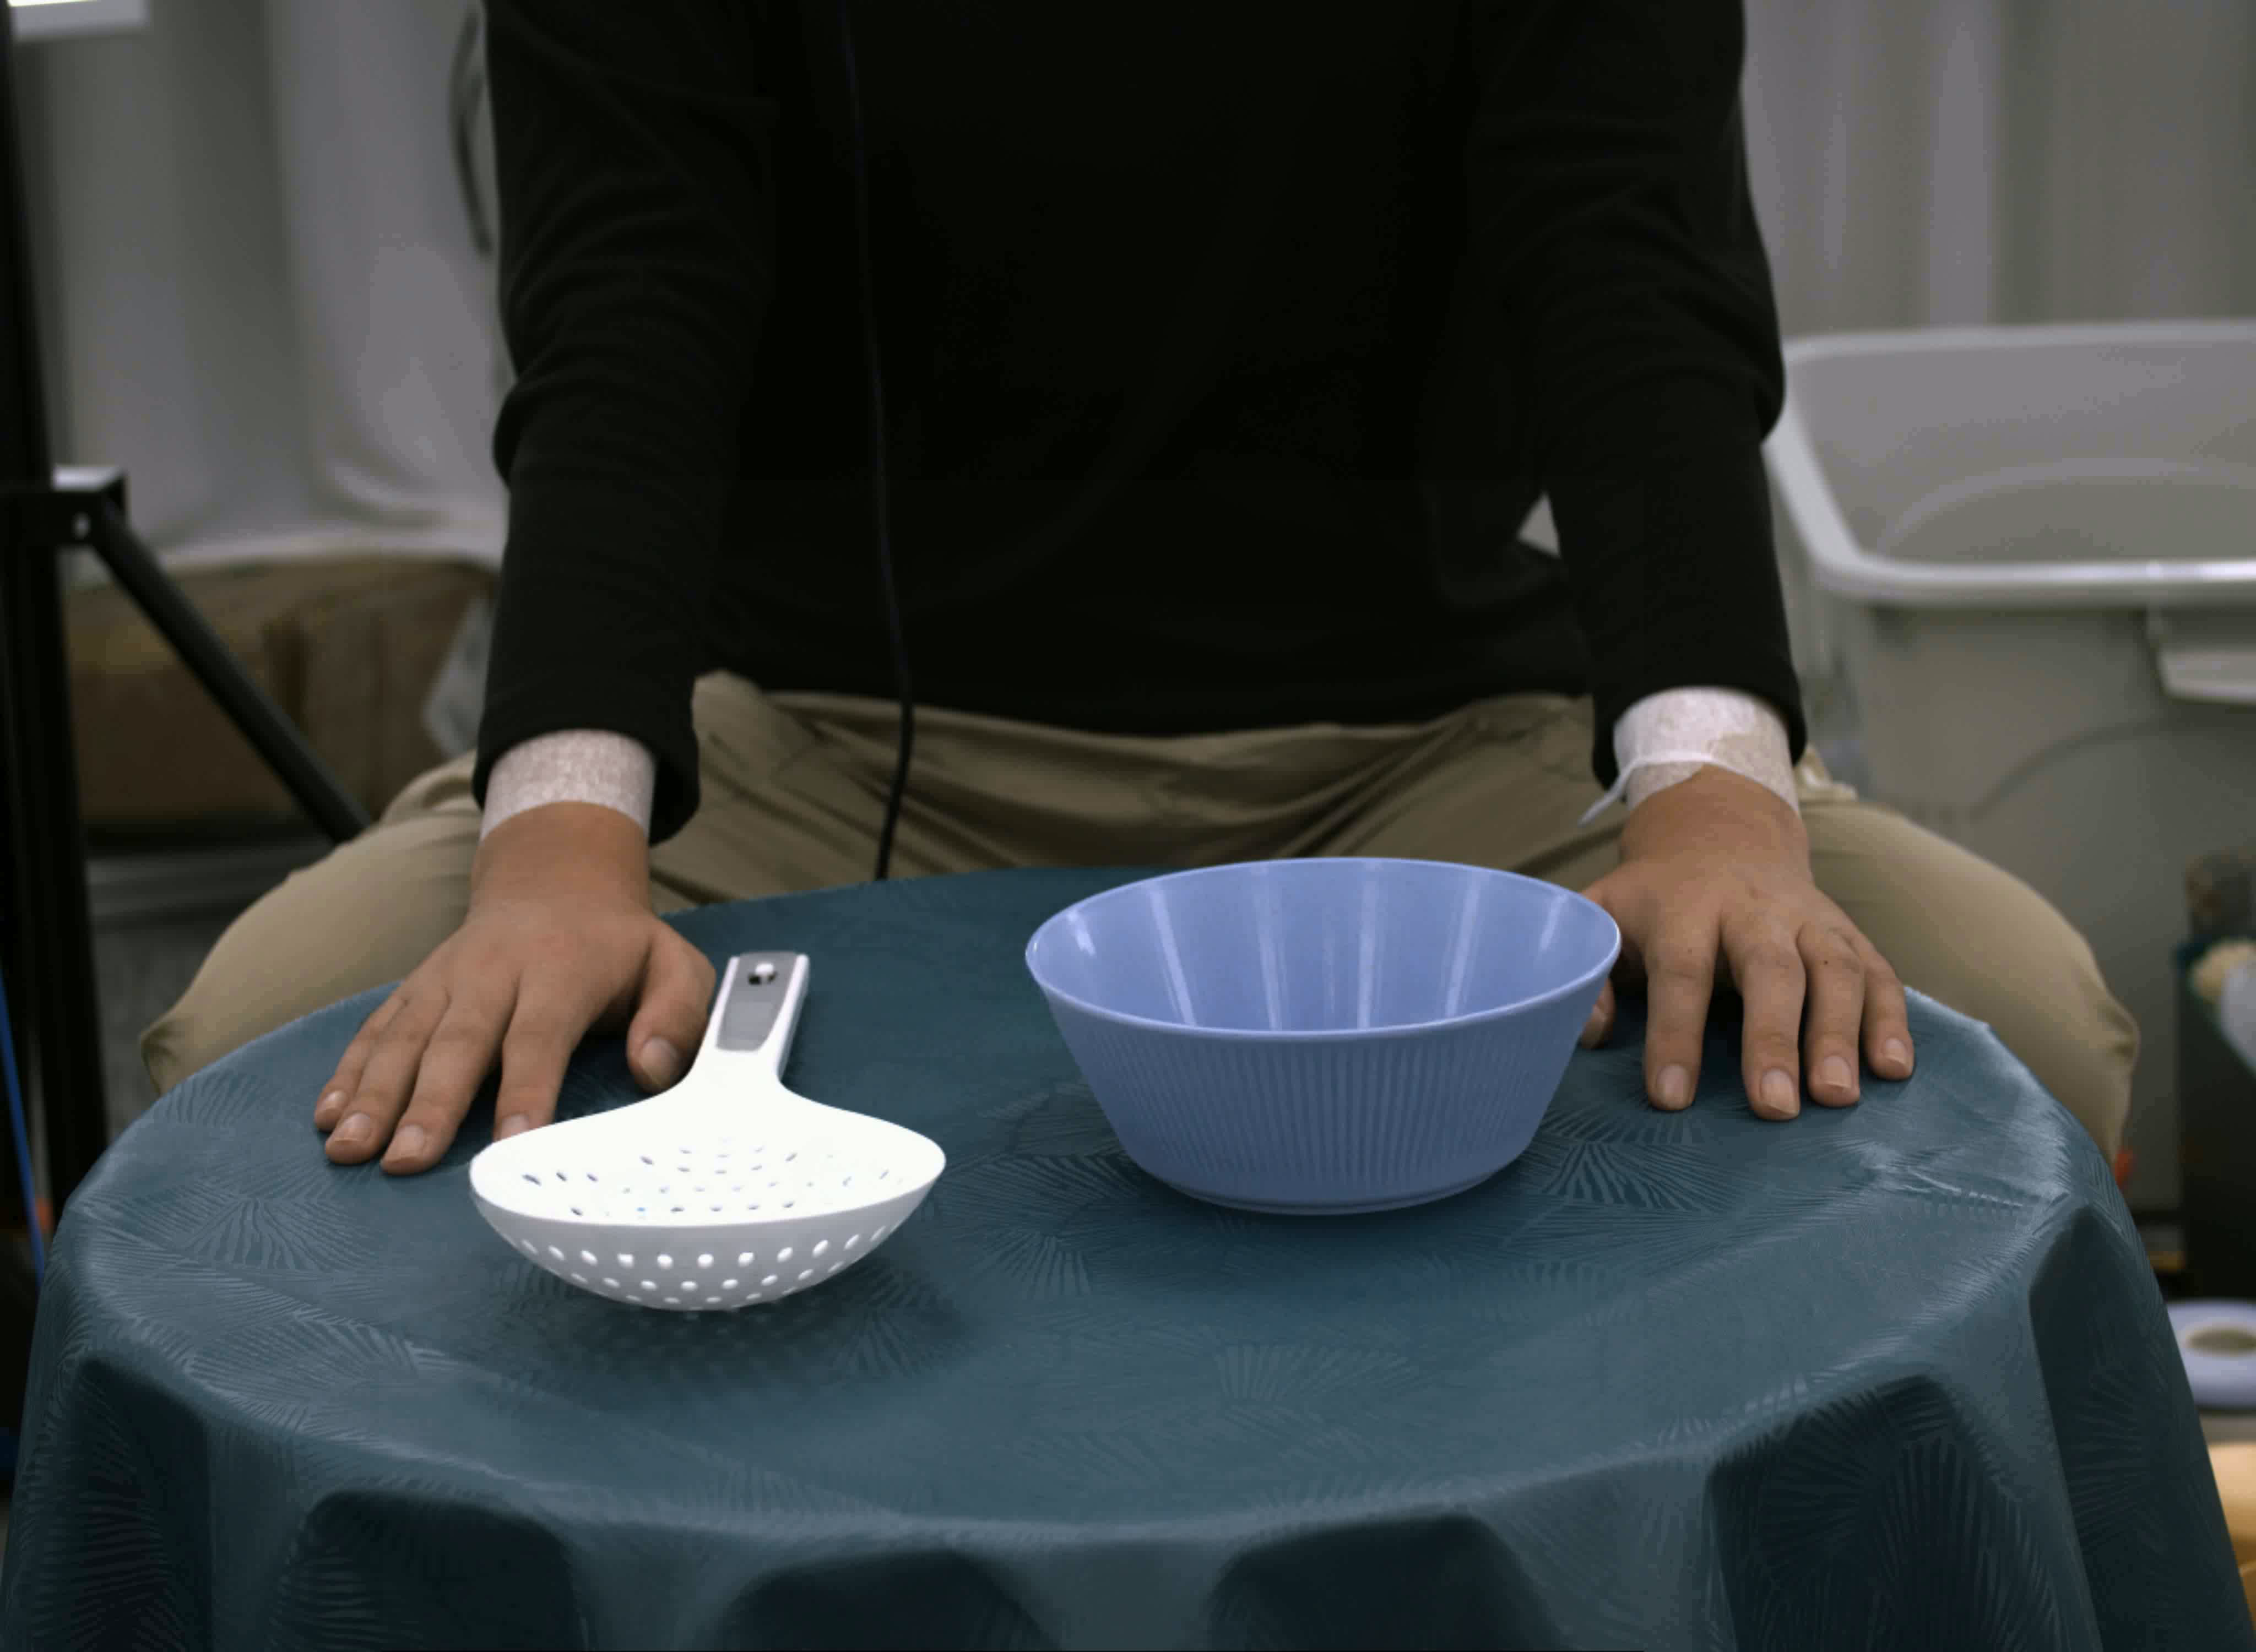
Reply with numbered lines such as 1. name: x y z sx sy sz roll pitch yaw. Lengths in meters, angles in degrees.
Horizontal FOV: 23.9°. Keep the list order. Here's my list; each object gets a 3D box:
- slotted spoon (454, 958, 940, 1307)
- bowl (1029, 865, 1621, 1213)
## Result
1. slotted spoon: -0.120 0.082 1.587 0.135 0.046 0.351 -2 15 0
2. bowl: 0.059 0.065 1.572 0.175 0.070 0.177 -3 14 -1
